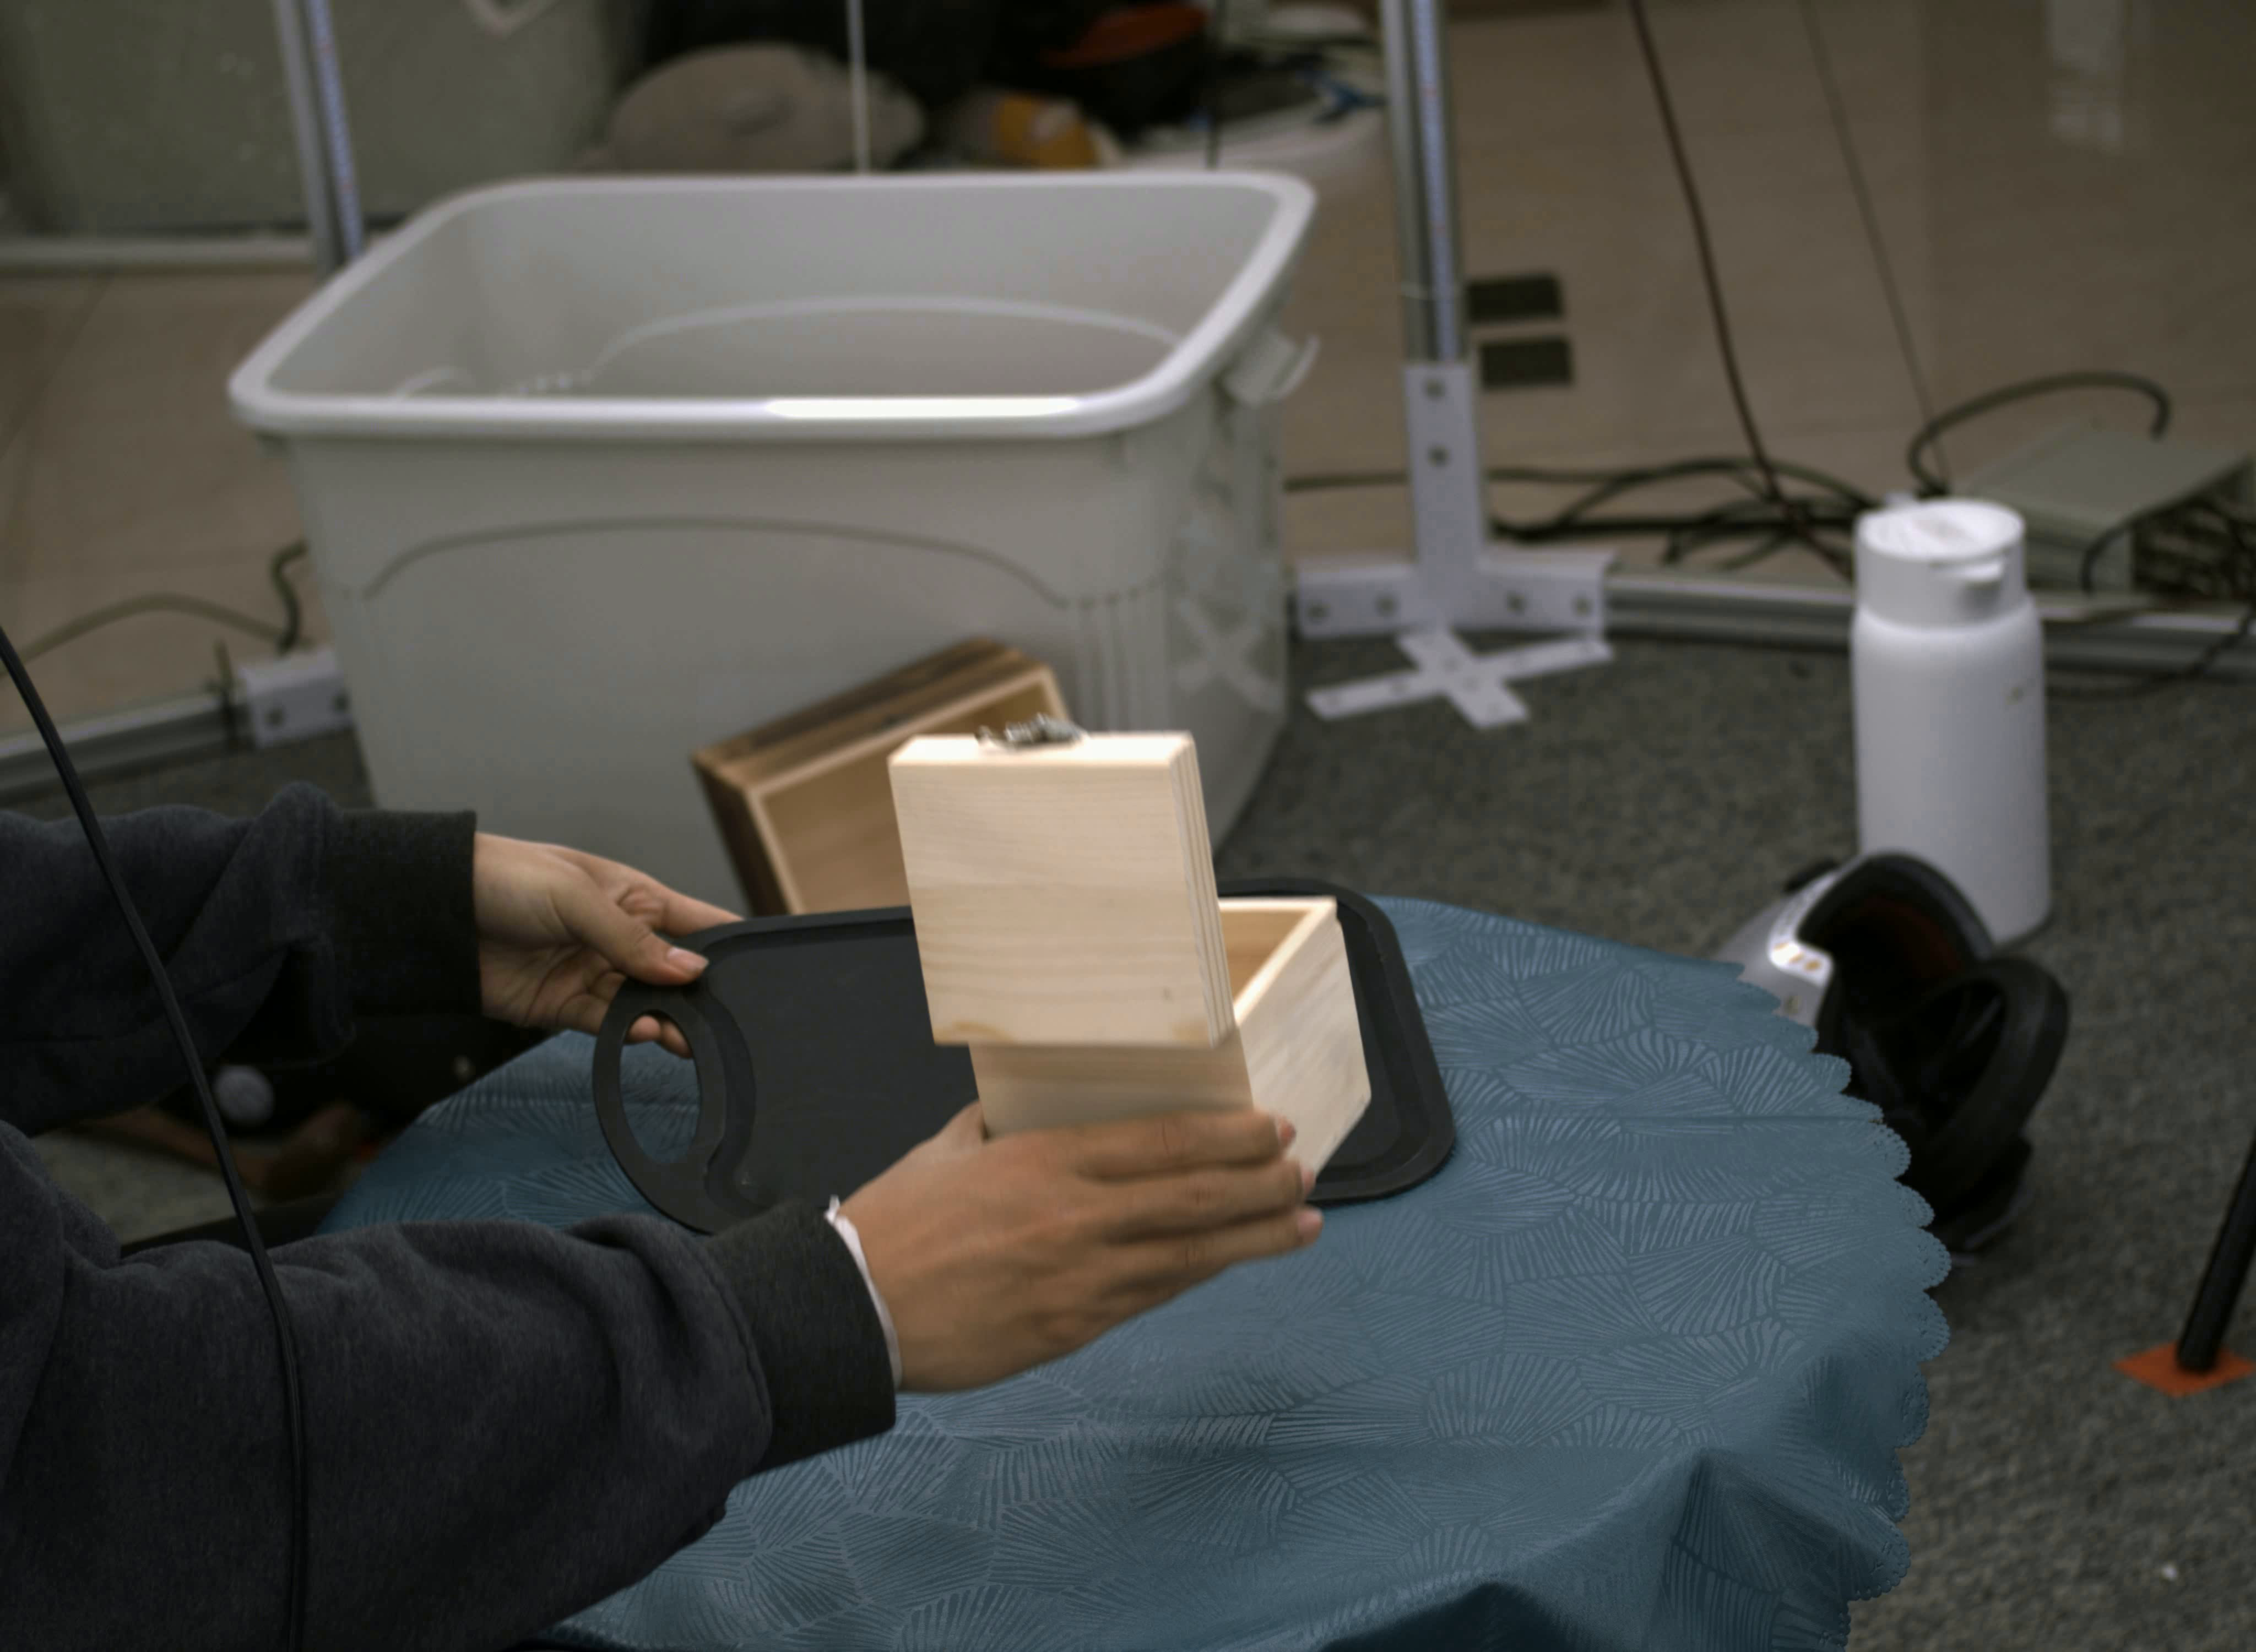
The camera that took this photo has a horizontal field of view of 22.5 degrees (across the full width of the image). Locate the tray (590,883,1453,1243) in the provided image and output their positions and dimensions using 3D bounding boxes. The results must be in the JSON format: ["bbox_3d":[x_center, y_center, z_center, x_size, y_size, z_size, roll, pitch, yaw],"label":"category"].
[{"bbox_3d":[-0.045,0.088,2.188,0.325,0.010,0.207,-4,35,-6],"label":"tray"}]

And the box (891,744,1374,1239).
[{"bbox_3d":[0.004,0.040,1.920,0.102,0.187,0.132,0,26,22],"label":"box"}]
